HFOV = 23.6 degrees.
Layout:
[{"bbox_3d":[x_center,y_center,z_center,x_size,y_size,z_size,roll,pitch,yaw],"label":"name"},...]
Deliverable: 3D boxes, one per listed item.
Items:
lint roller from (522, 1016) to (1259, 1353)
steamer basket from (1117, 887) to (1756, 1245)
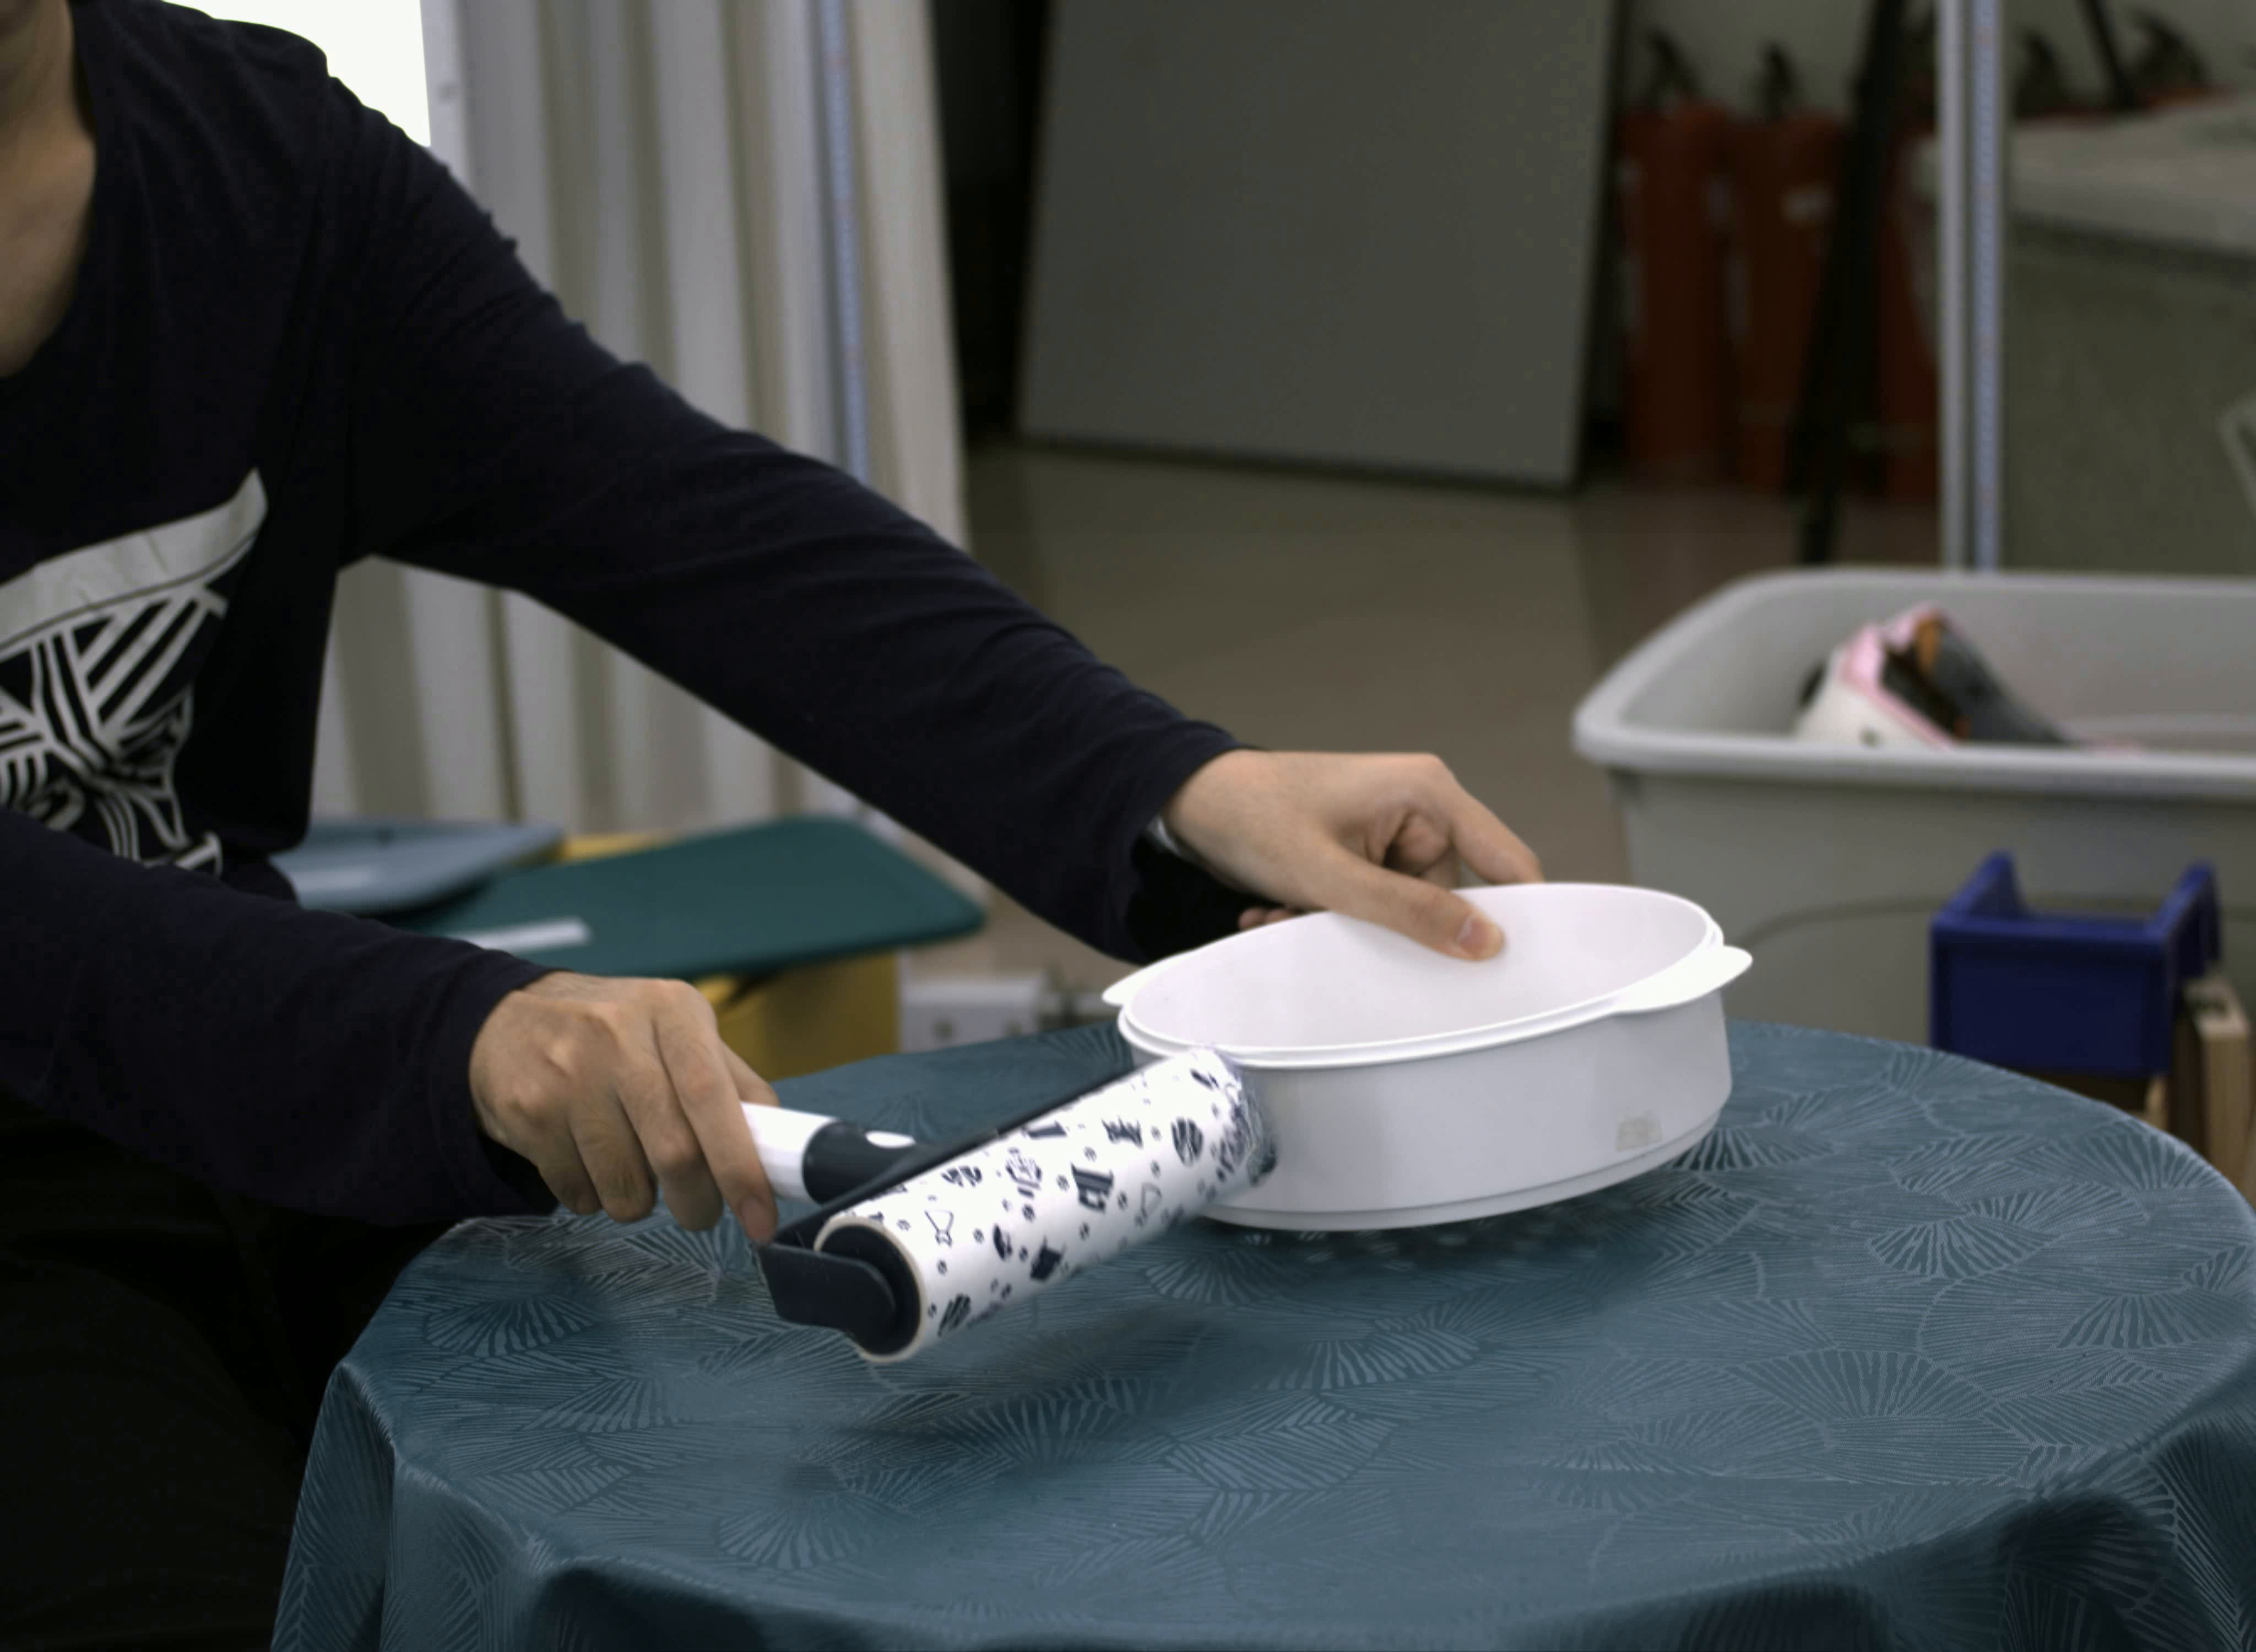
[{"bbox_3d":[-0.102,0.099,1.660,0.249,0.051,0.173,5,21,41],"label":"lint roller"},{"bbox_3d":[0.104,0.079,1.757,0.232,0.070,0.198,-6,11,37],"label":"steamer basket"}]
